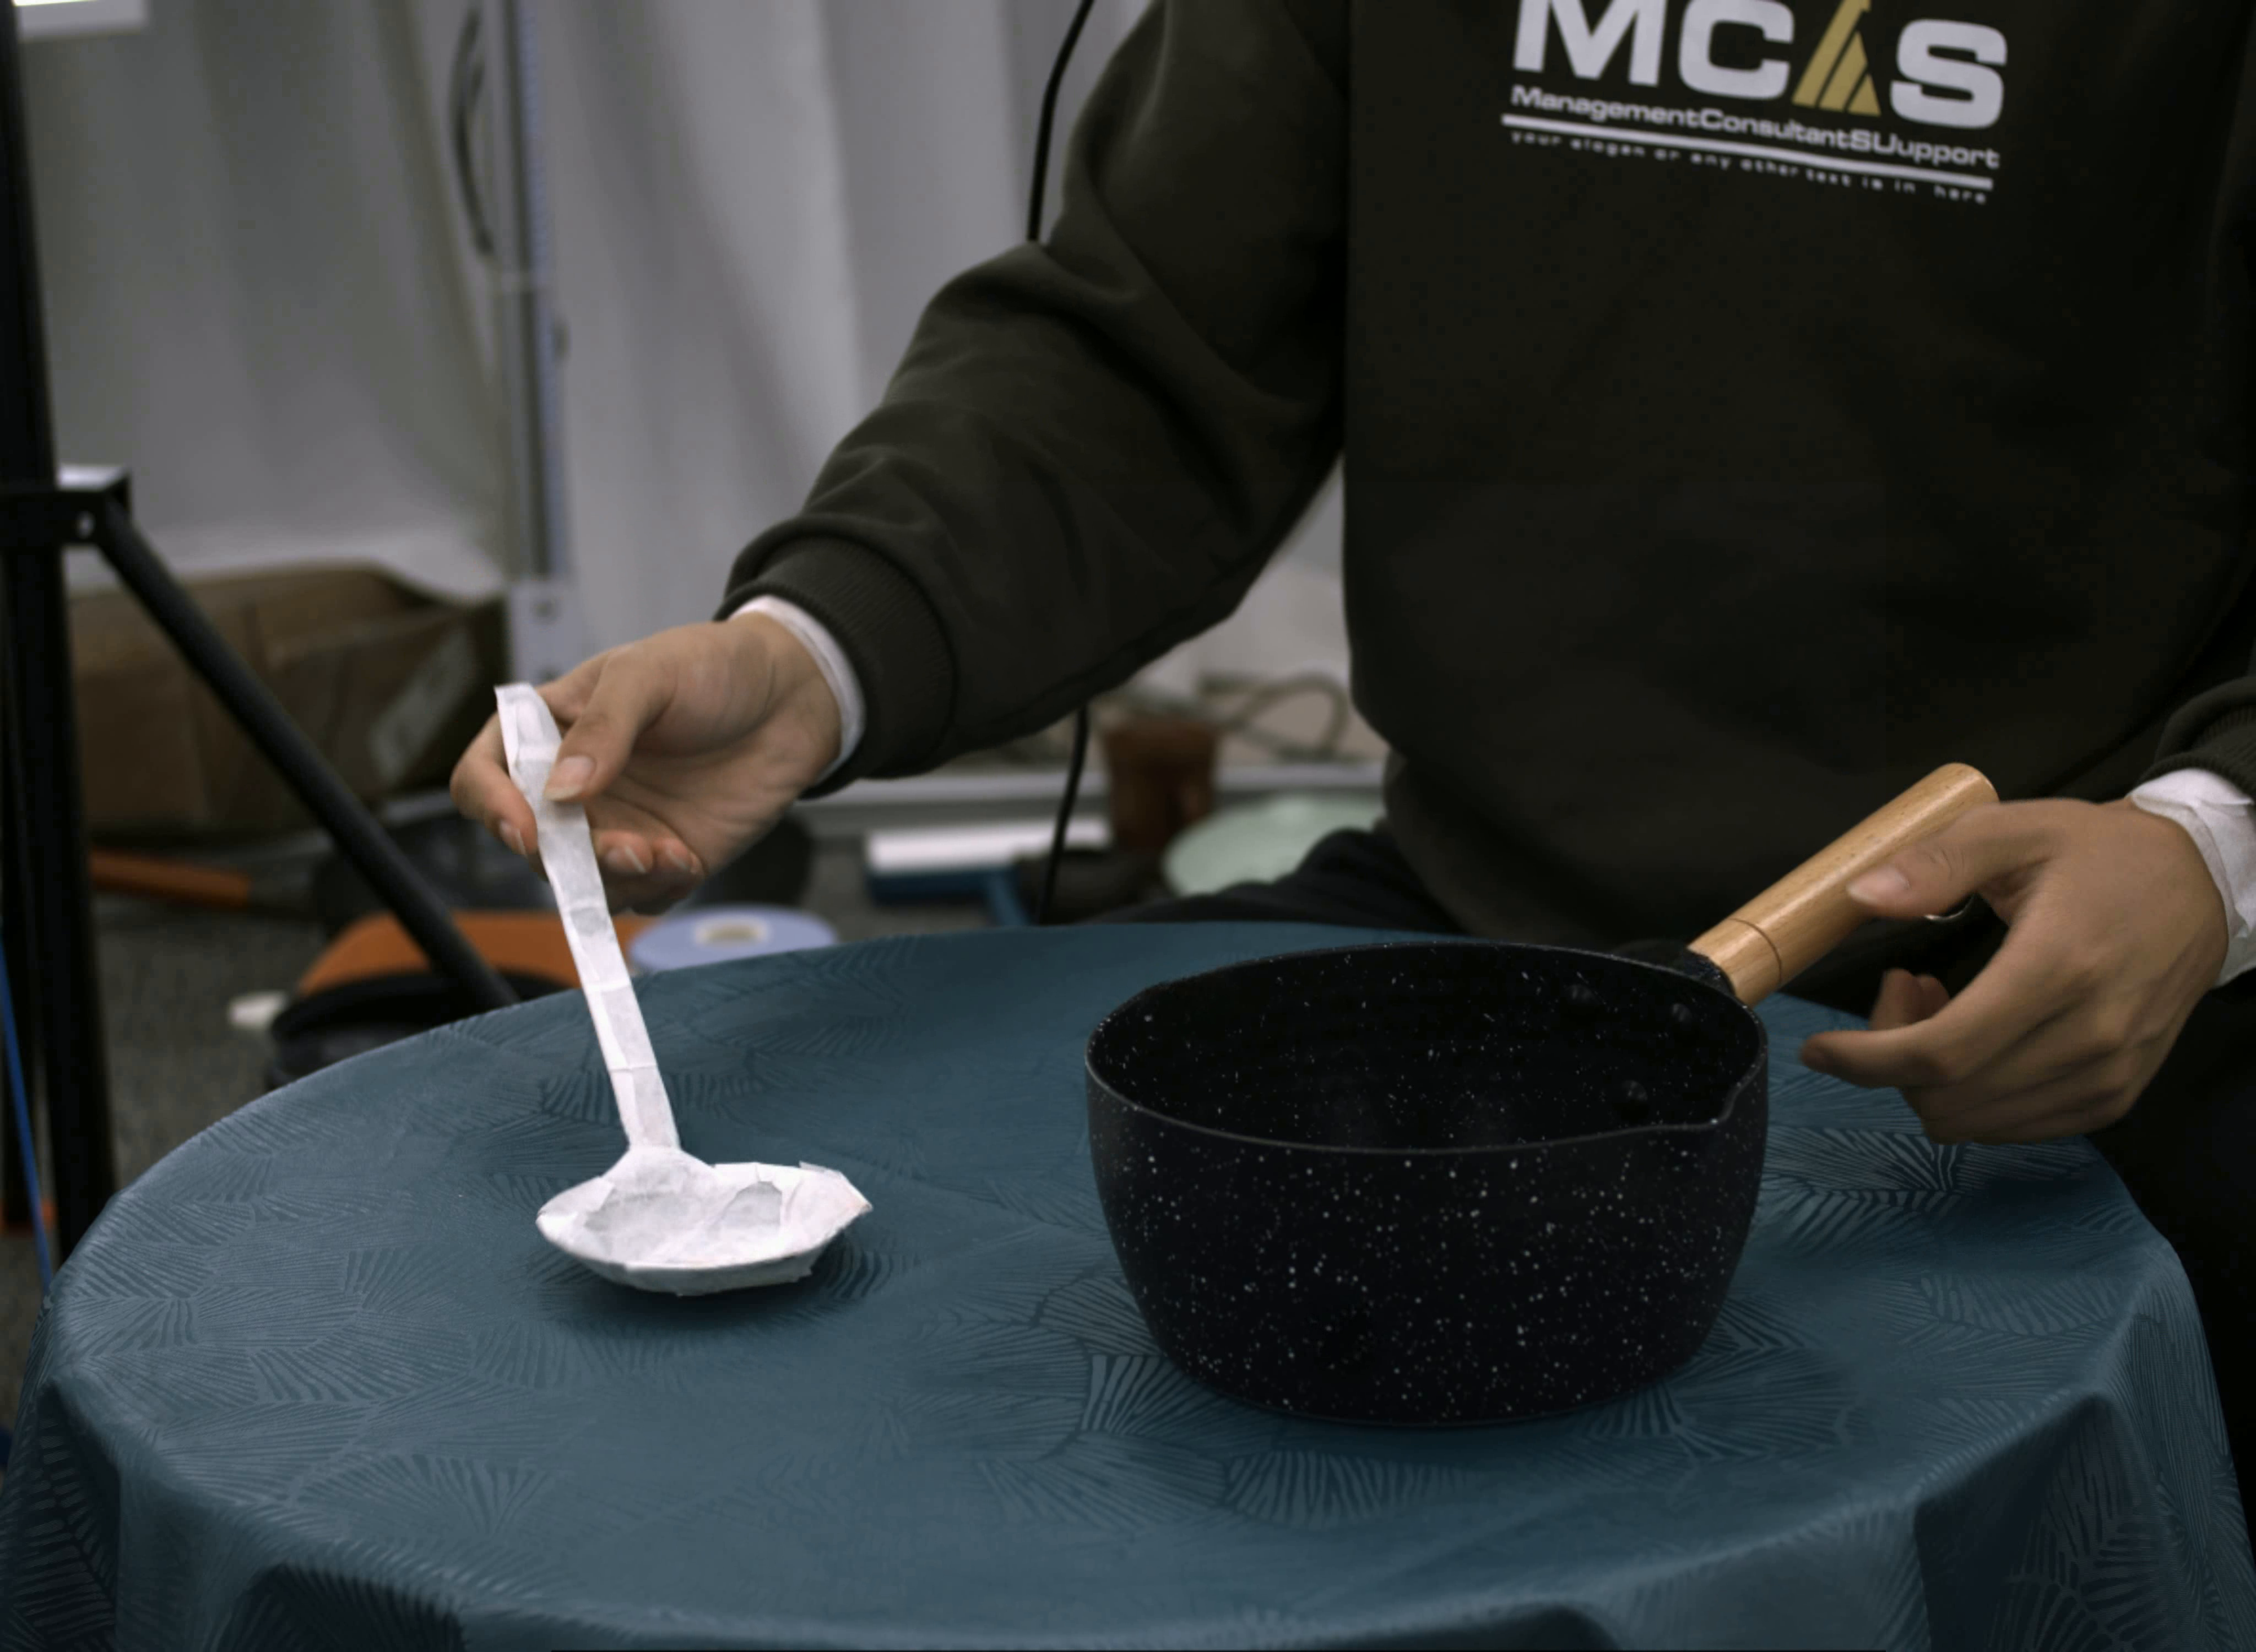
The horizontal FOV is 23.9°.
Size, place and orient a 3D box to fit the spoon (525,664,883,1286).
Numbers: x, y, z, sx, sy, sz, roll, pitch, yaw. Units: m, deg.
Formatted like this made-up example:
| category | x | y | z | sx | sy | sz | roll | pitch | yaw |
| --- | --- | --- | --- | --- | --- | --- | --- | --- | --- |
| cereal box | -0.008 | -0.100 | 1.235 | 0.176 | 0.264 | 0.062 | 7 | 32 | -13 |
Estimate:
| category | x | y | z | sx | sy | sz | roll | pitch | yaw |
| --- | --- | --- | --- | --- | --- | --- | --- | --- | --- |
| spoon | -0.140 | 0.035 | 1.579 | 0.099 | 0.059 | 0.282 | -1 | 47 | -18 |

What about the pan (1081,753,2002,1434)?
| category | x | y | z | sx | sy | sz | roll | pitch | yaw |
| --- | --- | --- | --- | --- | --- | --- | --- | --- | --- |
| pan | 0.135 | 0.069 | 1.481 | 0.212 | 0.108 | 0.335 | 11 | 22 | 43 |
